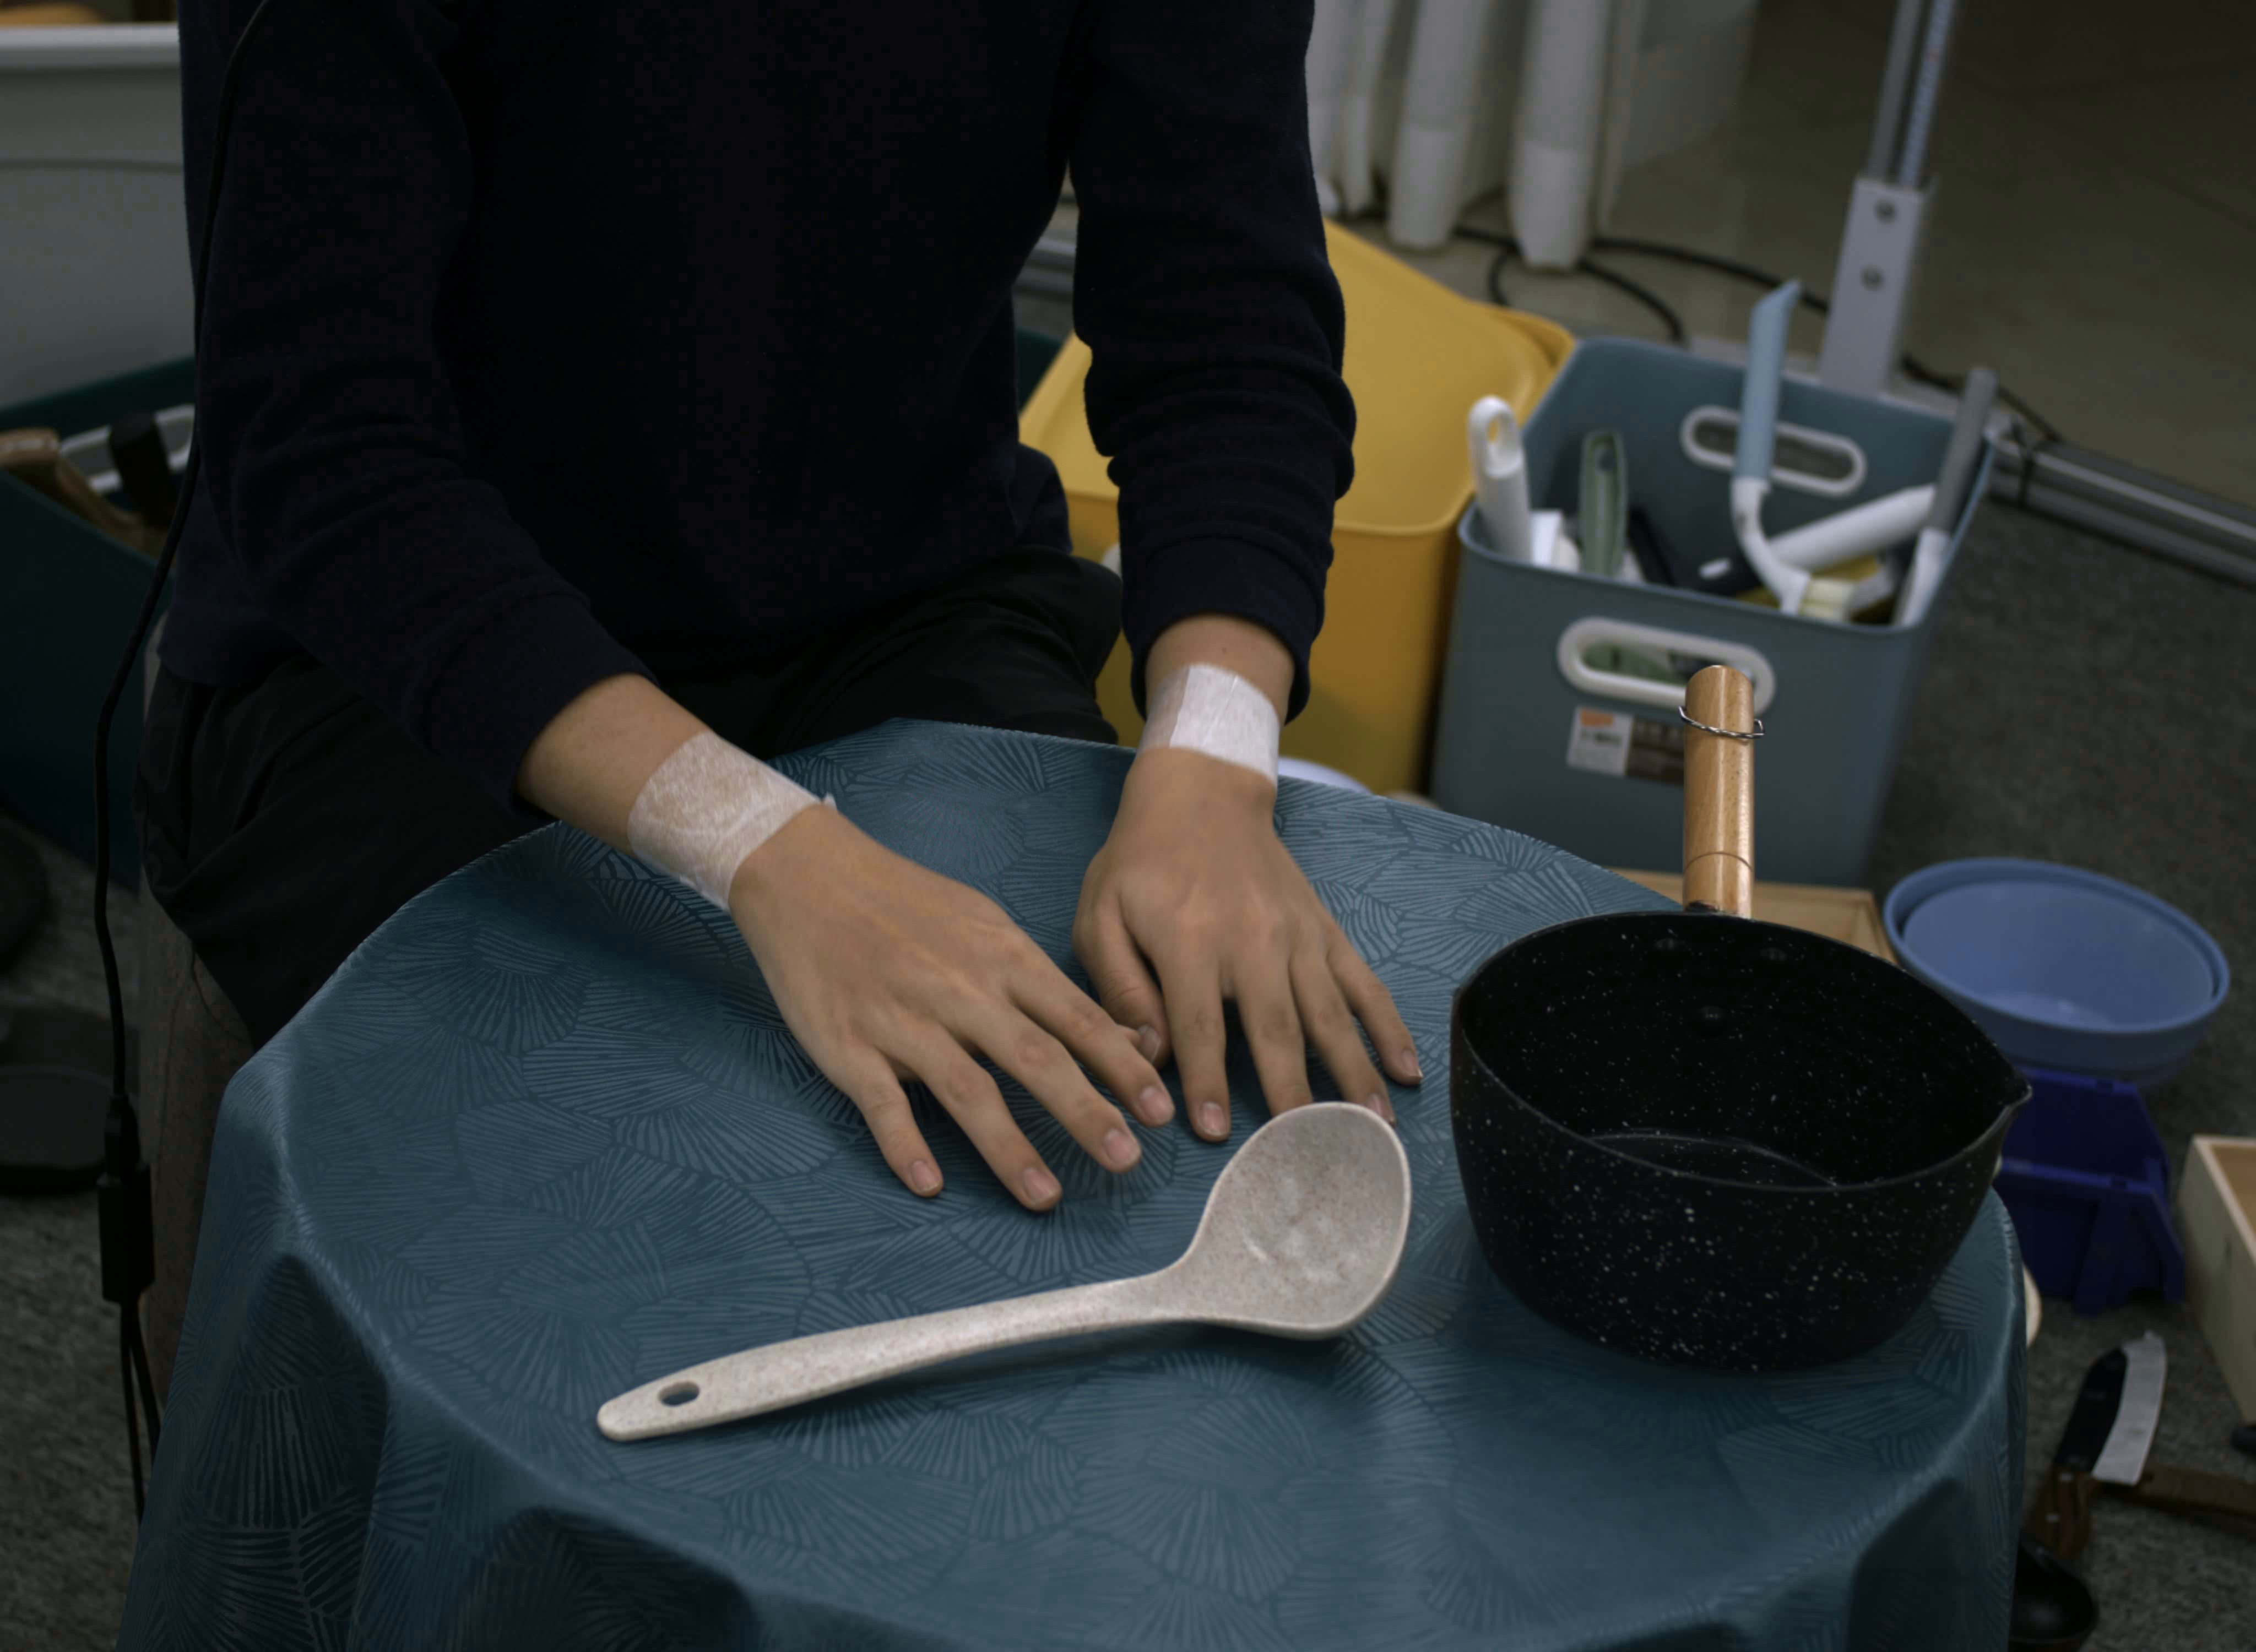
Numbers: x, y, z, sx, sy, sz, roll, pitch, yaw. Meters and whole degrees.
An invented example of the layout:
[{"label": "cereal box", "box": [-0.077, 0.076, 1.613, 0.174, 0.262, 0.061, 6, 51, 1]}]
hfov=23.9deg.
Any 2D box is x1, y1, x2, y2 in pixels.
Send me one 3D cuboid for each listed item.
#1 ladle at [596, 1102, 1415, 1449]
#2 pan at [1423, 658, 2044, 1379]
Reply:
[{"label": "ladle", "box": [-0.037, 0.144, 1.681, 0.273, 0.069, 0.090, -8, 41, -26]}, {"label": "pan", "box": [0.202, 0.063, 1.849, 0.207, 0.108, 0.345, 6, 28, 0]}]
